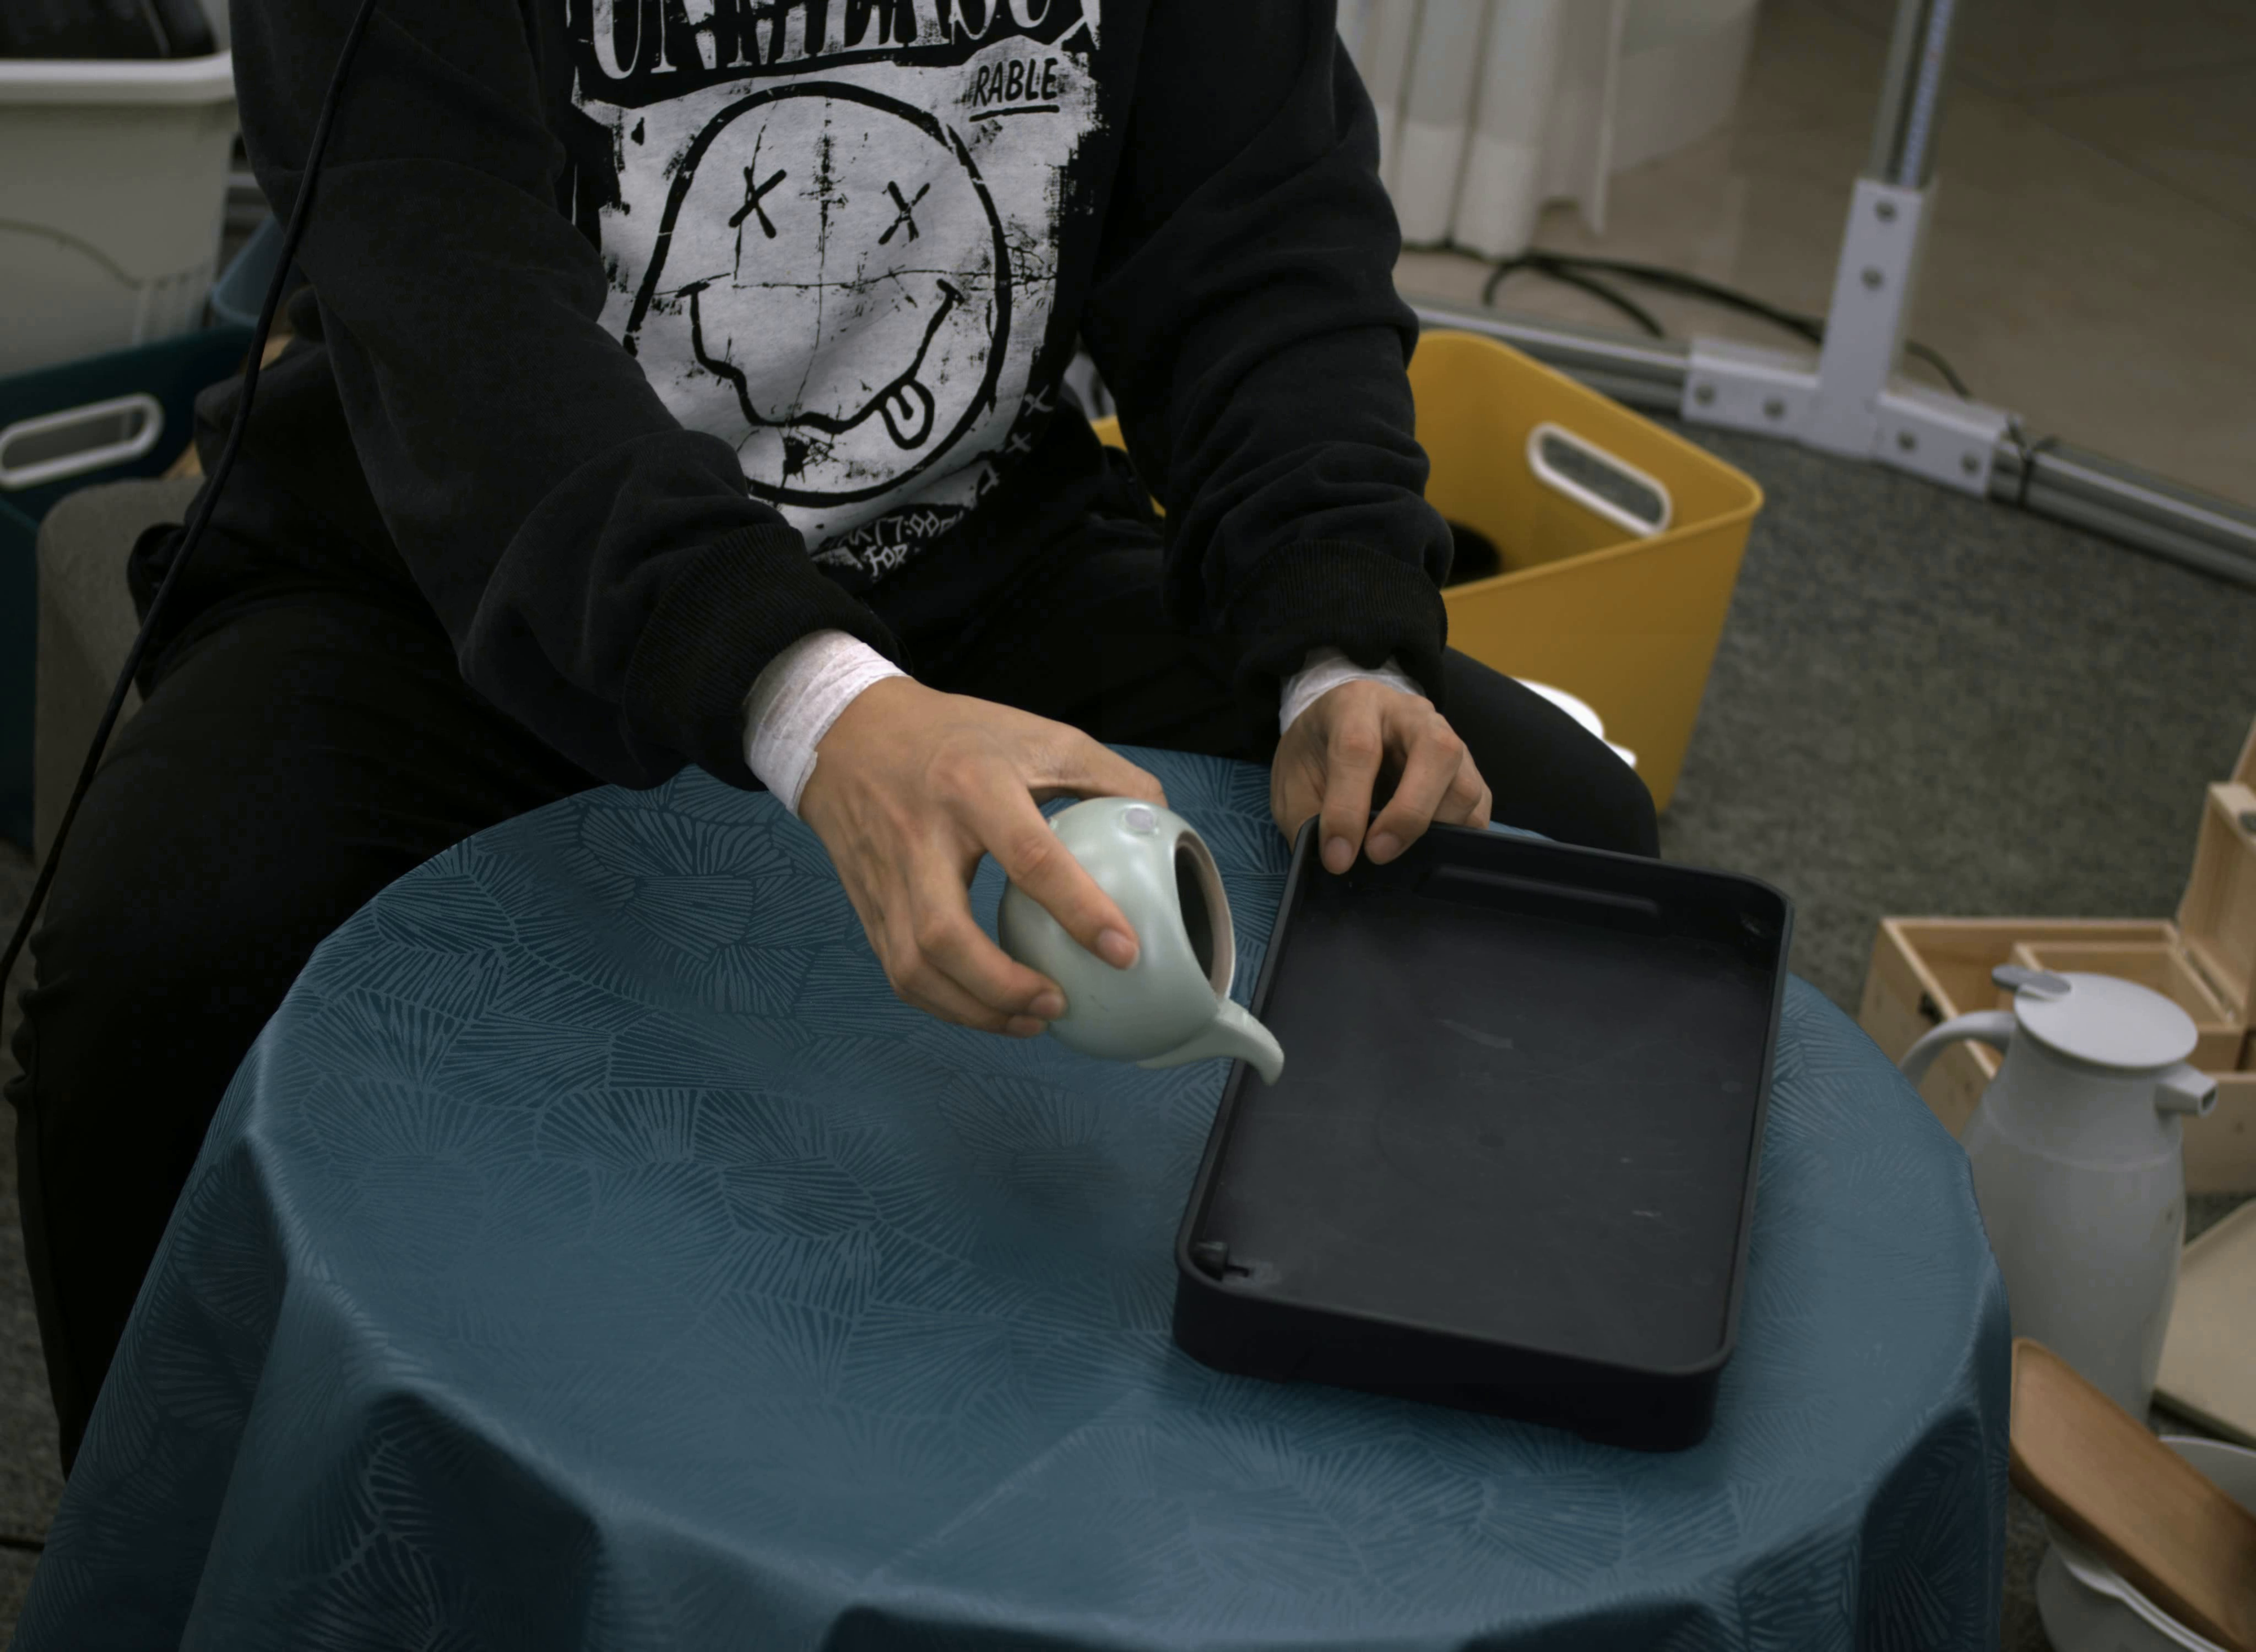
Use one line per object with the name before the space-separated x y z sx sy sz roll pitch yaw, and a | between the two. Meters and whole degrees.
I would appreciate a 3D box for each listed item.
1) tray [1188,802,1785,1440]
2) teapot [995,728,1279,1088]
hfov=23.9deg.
tray | 0.128 0.094 1.831 0.184 0.037 0.319 8 31 5
teapot | -0.003 0.033 1.764 0.075 0.143 0.089 -12 26 16
